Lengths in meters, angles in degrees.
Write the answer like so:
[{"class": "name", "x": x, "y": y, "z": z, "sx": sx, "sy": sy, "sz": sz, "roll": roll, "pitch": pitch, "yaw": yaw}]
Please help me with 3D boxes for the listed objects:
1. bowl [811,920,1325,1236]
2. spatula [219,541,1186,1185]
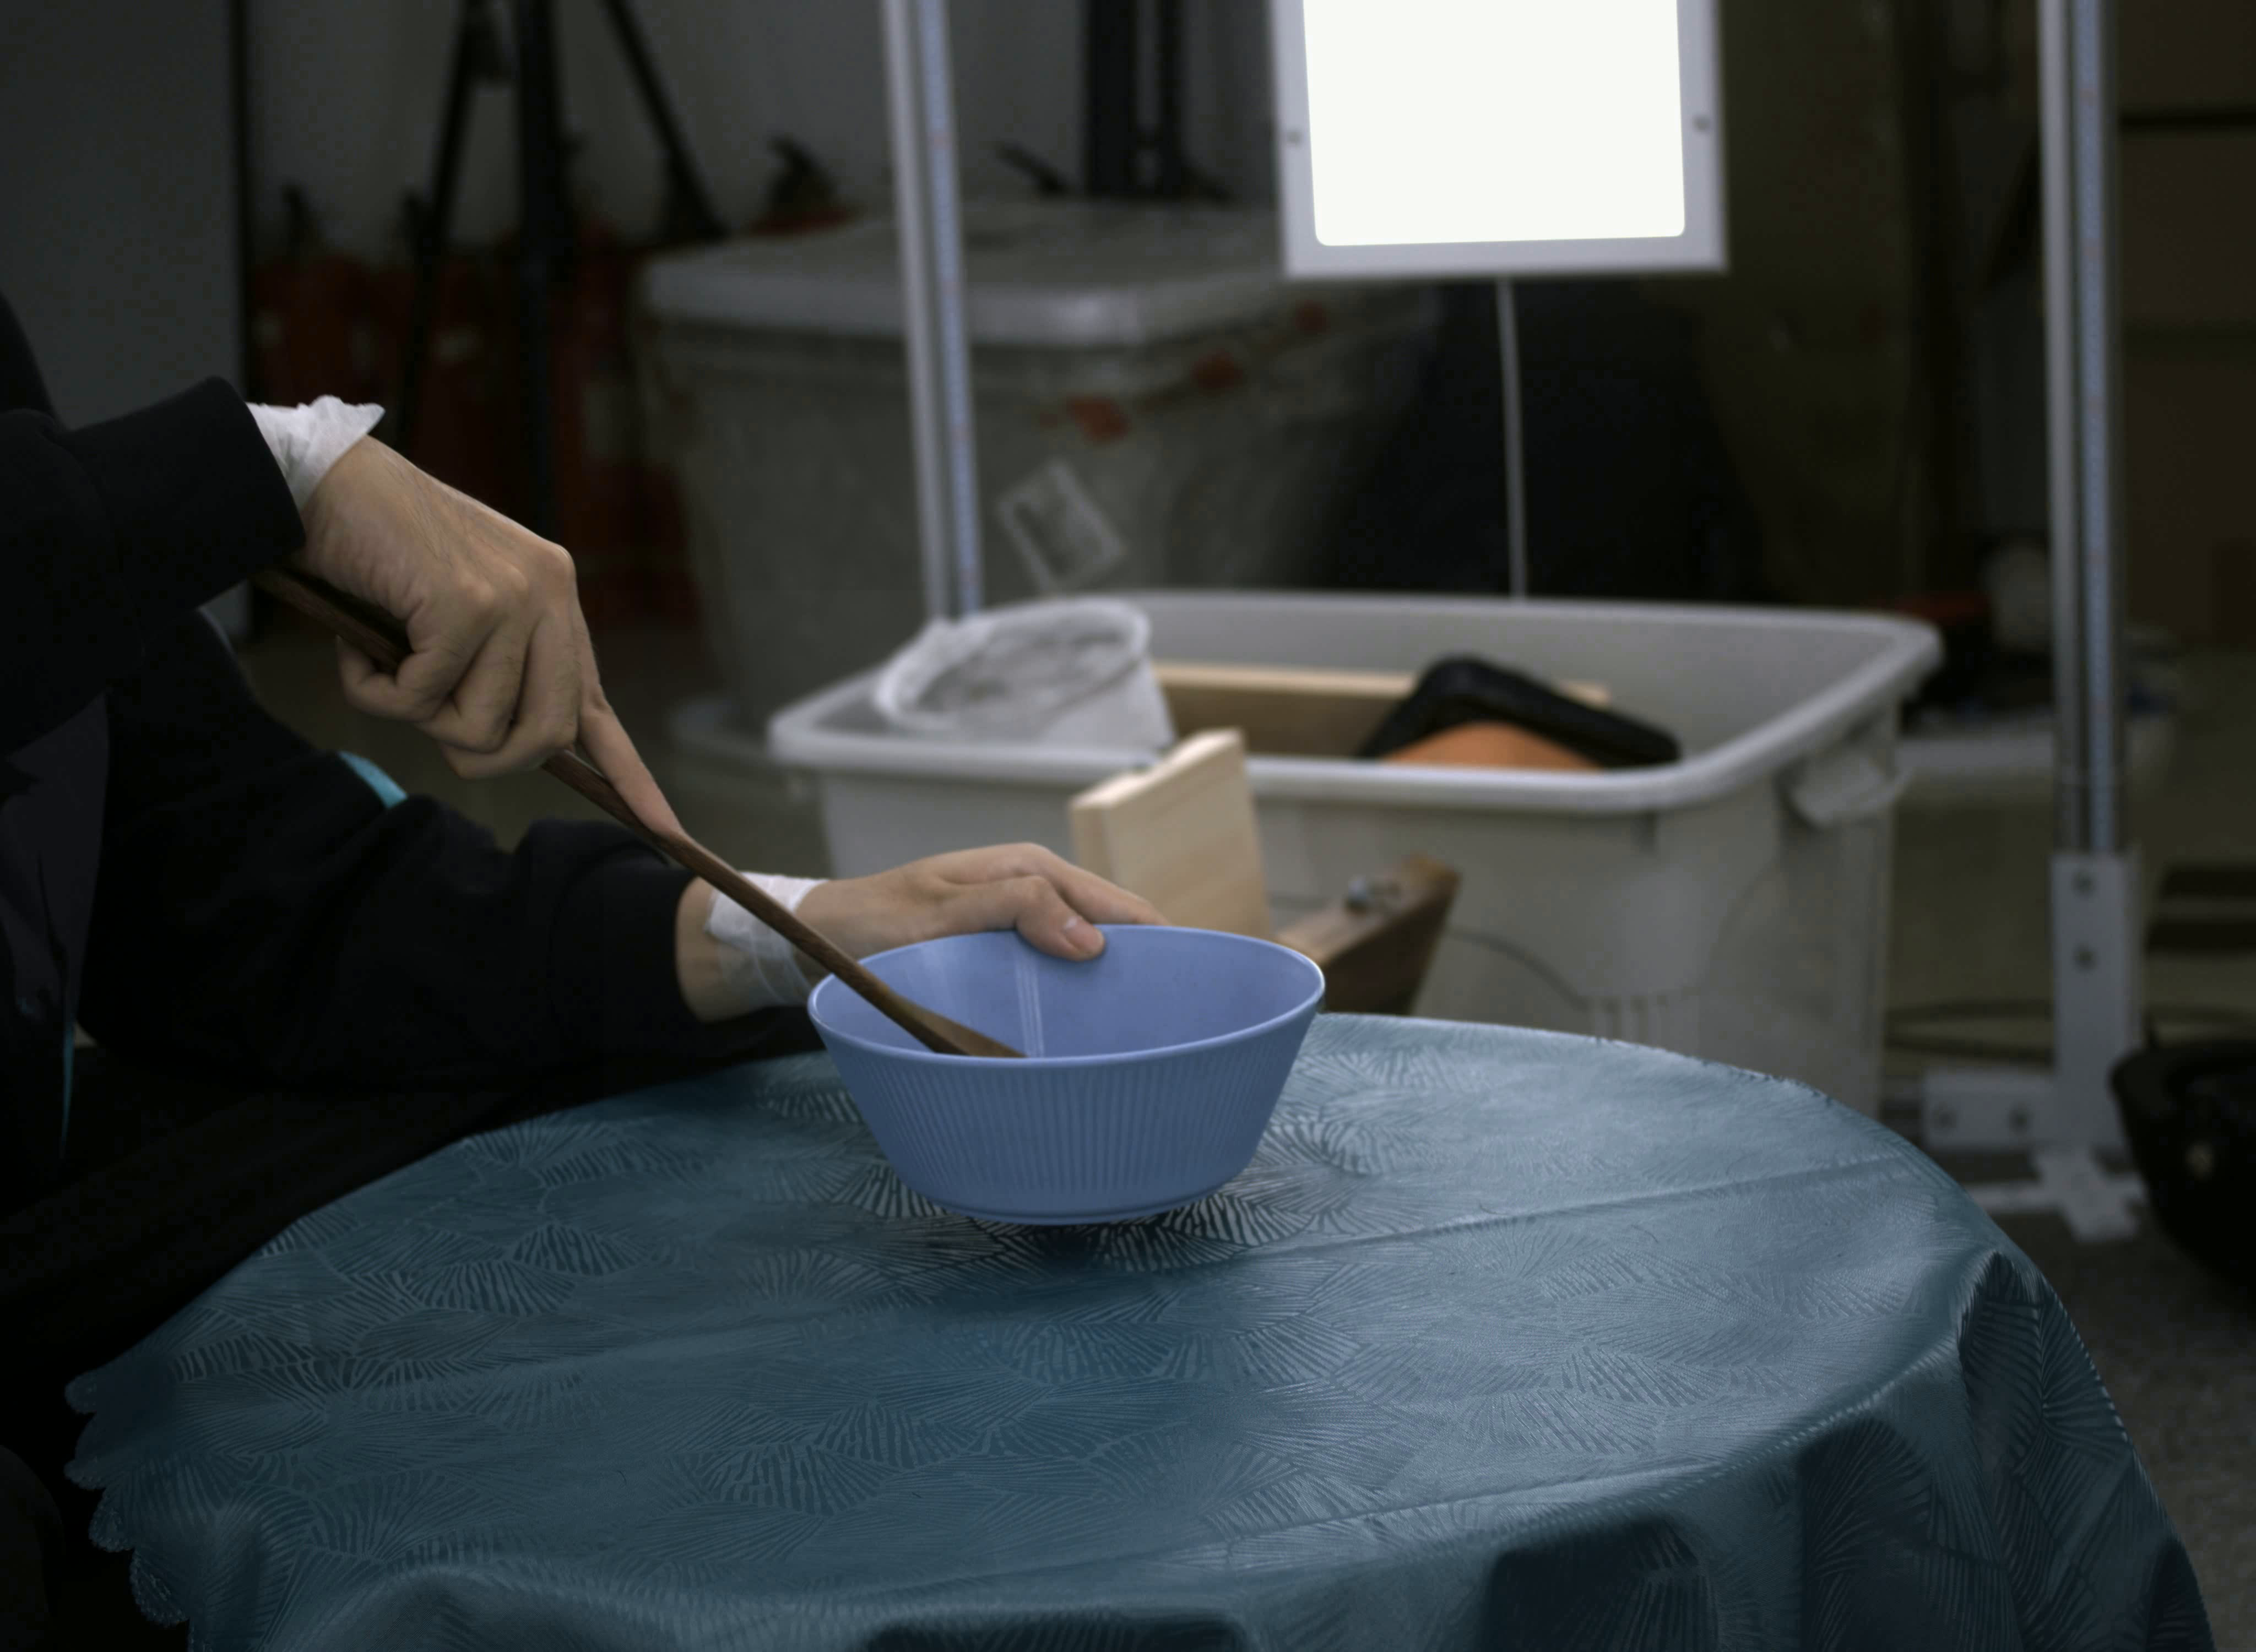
[{"class": "bowl", "x": -0.018, "y": 0.088, "z": 1.866, "sx": 0.175, "sy": 0.070, "sz": 0.176, "roll": -5, "pitch": 16, "yaw": 0}, {"class": "spatula", "x": -0.135, "y": 0.012, "z": 1.808, "sx": 0.382, "sy": 0.016, "sz": 0.097, "roll": 35, "pitch": 4, "yaw": -17}]
